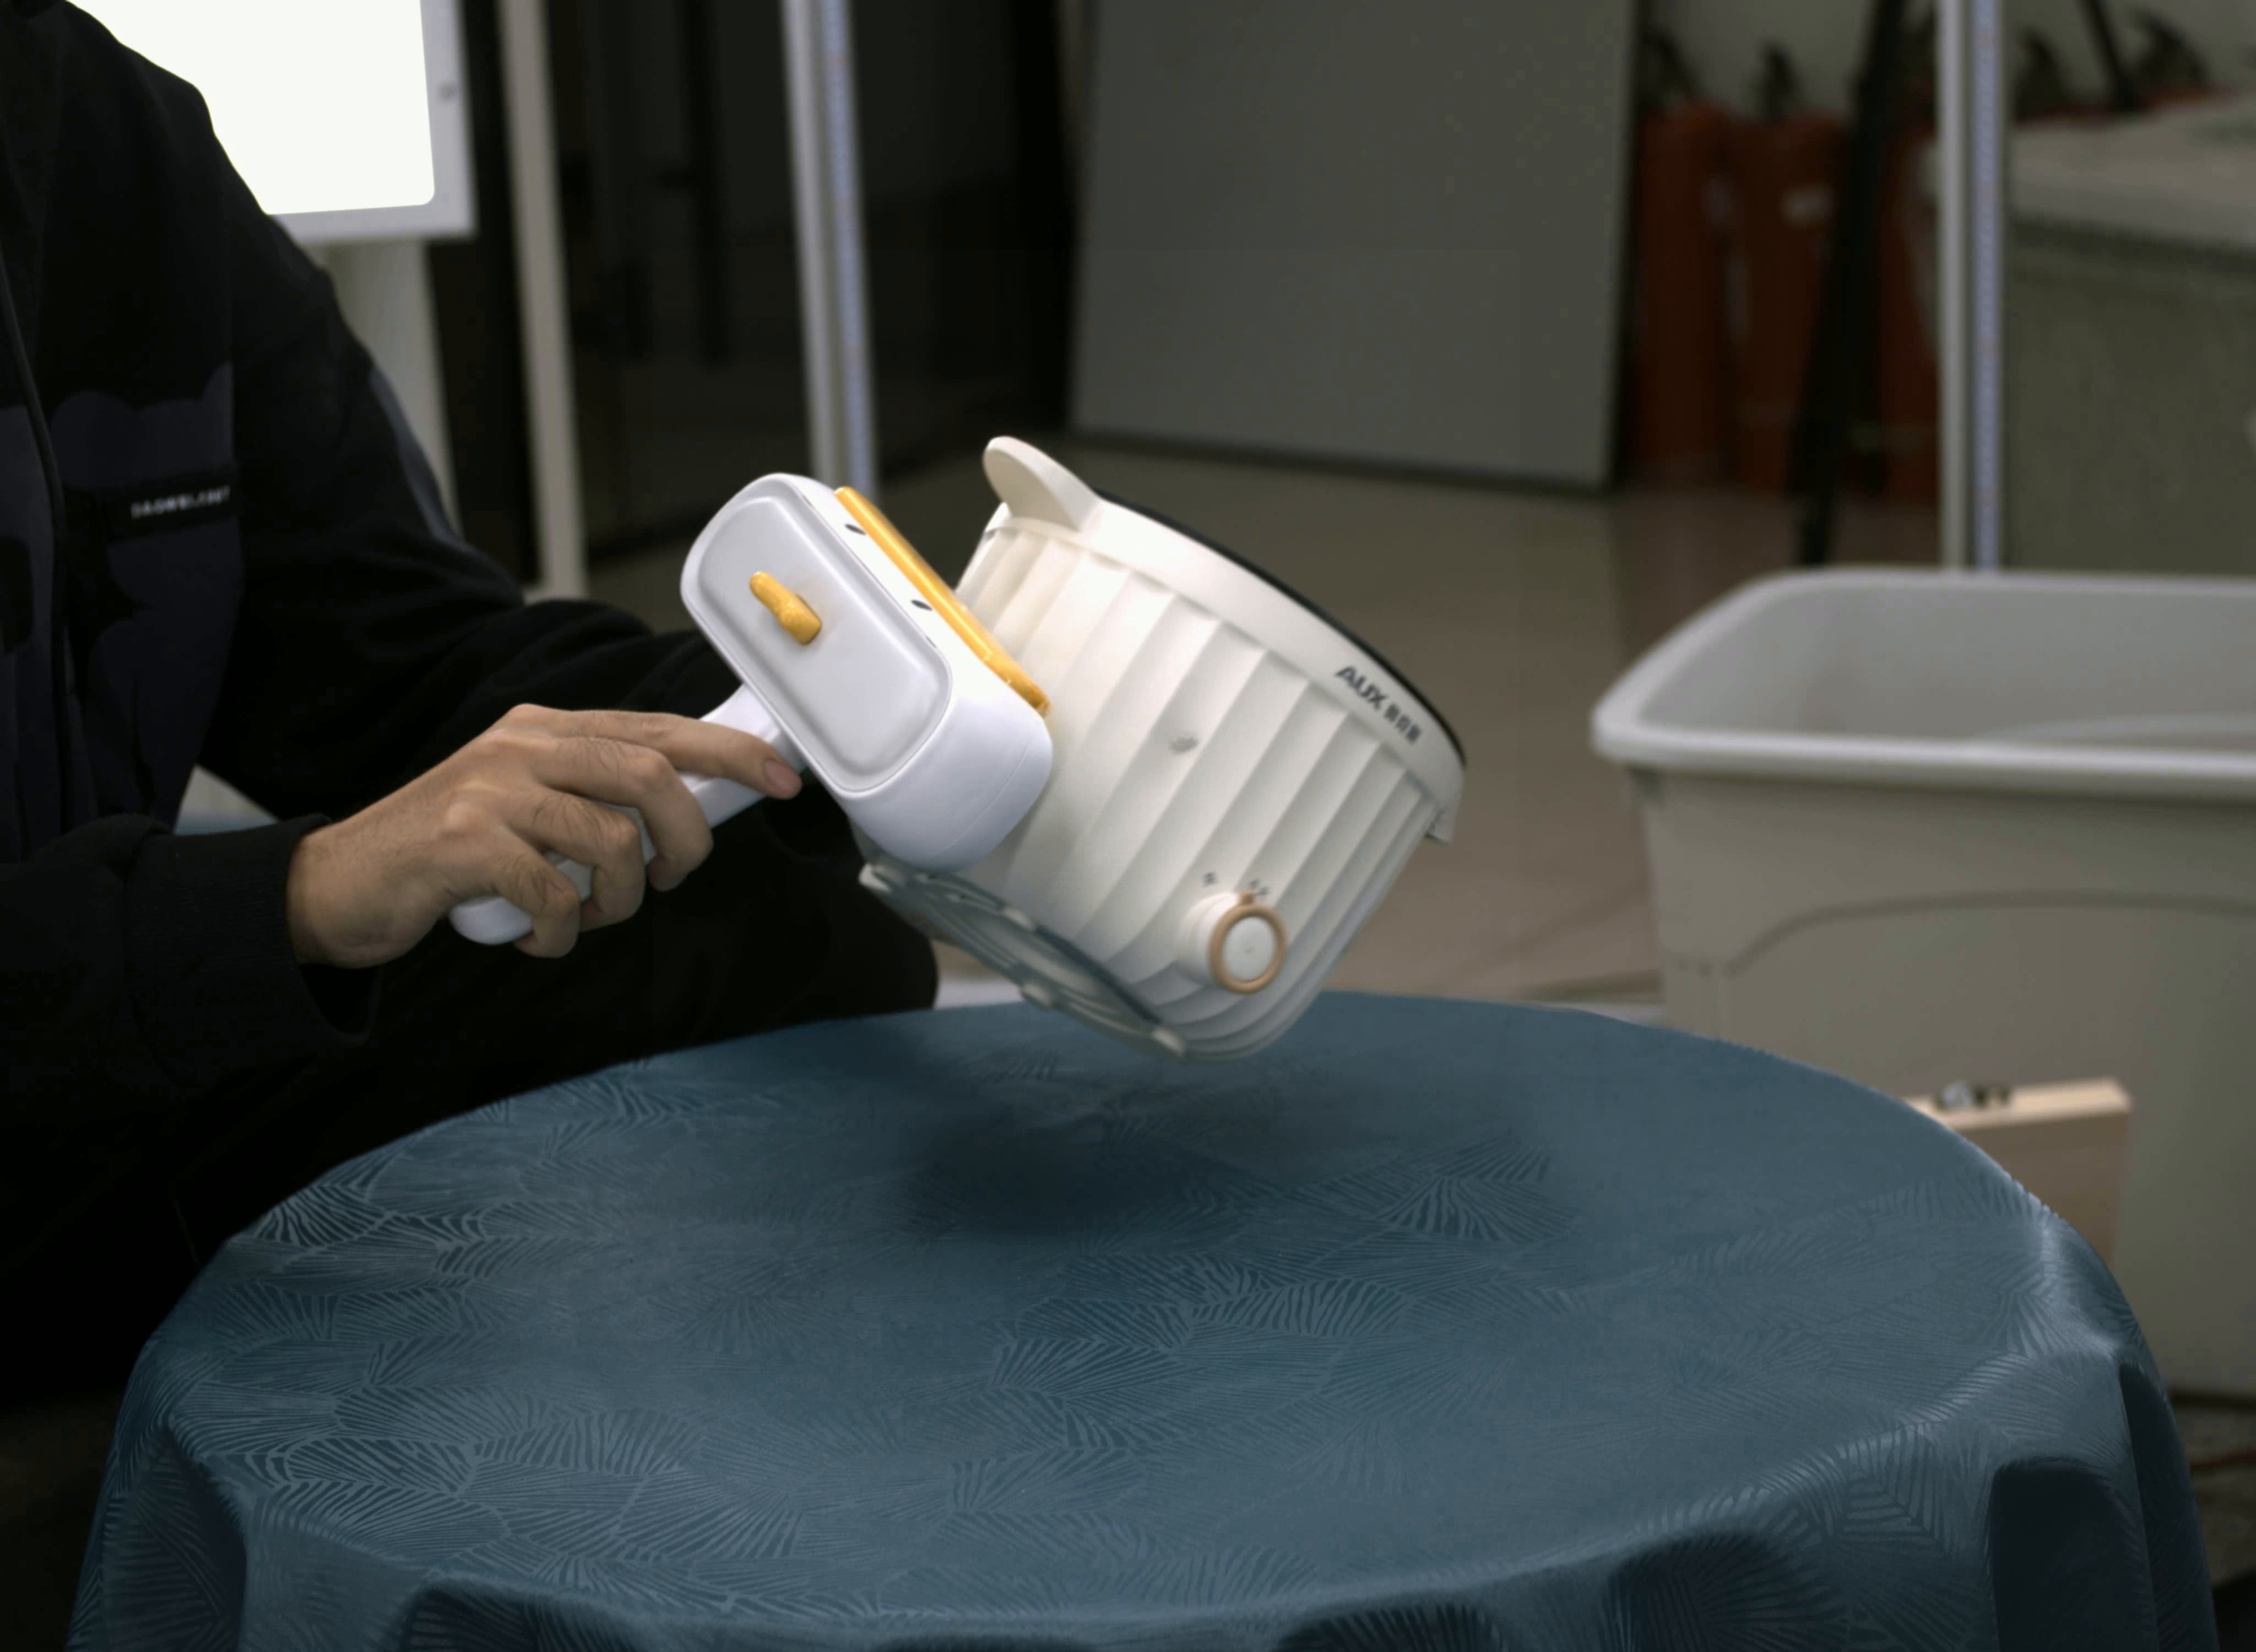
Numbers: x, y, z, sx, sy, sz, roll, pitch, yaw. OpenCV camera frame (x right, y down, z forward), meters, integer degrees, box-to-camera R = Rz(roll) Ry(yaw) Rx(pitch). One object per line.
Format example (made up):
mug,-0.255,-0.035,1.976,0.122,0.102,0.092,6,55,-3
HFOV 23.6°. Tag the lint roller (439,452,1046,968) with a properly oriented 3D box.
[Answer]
lint roller,-0.134,-0.020,1.725,0.192,0.073,0.195,-45,42,-2

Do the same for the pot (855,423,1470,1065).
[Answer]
pot,0.008,-0.011,1.795,0.237,0.143,0.192,39,-17,-34
